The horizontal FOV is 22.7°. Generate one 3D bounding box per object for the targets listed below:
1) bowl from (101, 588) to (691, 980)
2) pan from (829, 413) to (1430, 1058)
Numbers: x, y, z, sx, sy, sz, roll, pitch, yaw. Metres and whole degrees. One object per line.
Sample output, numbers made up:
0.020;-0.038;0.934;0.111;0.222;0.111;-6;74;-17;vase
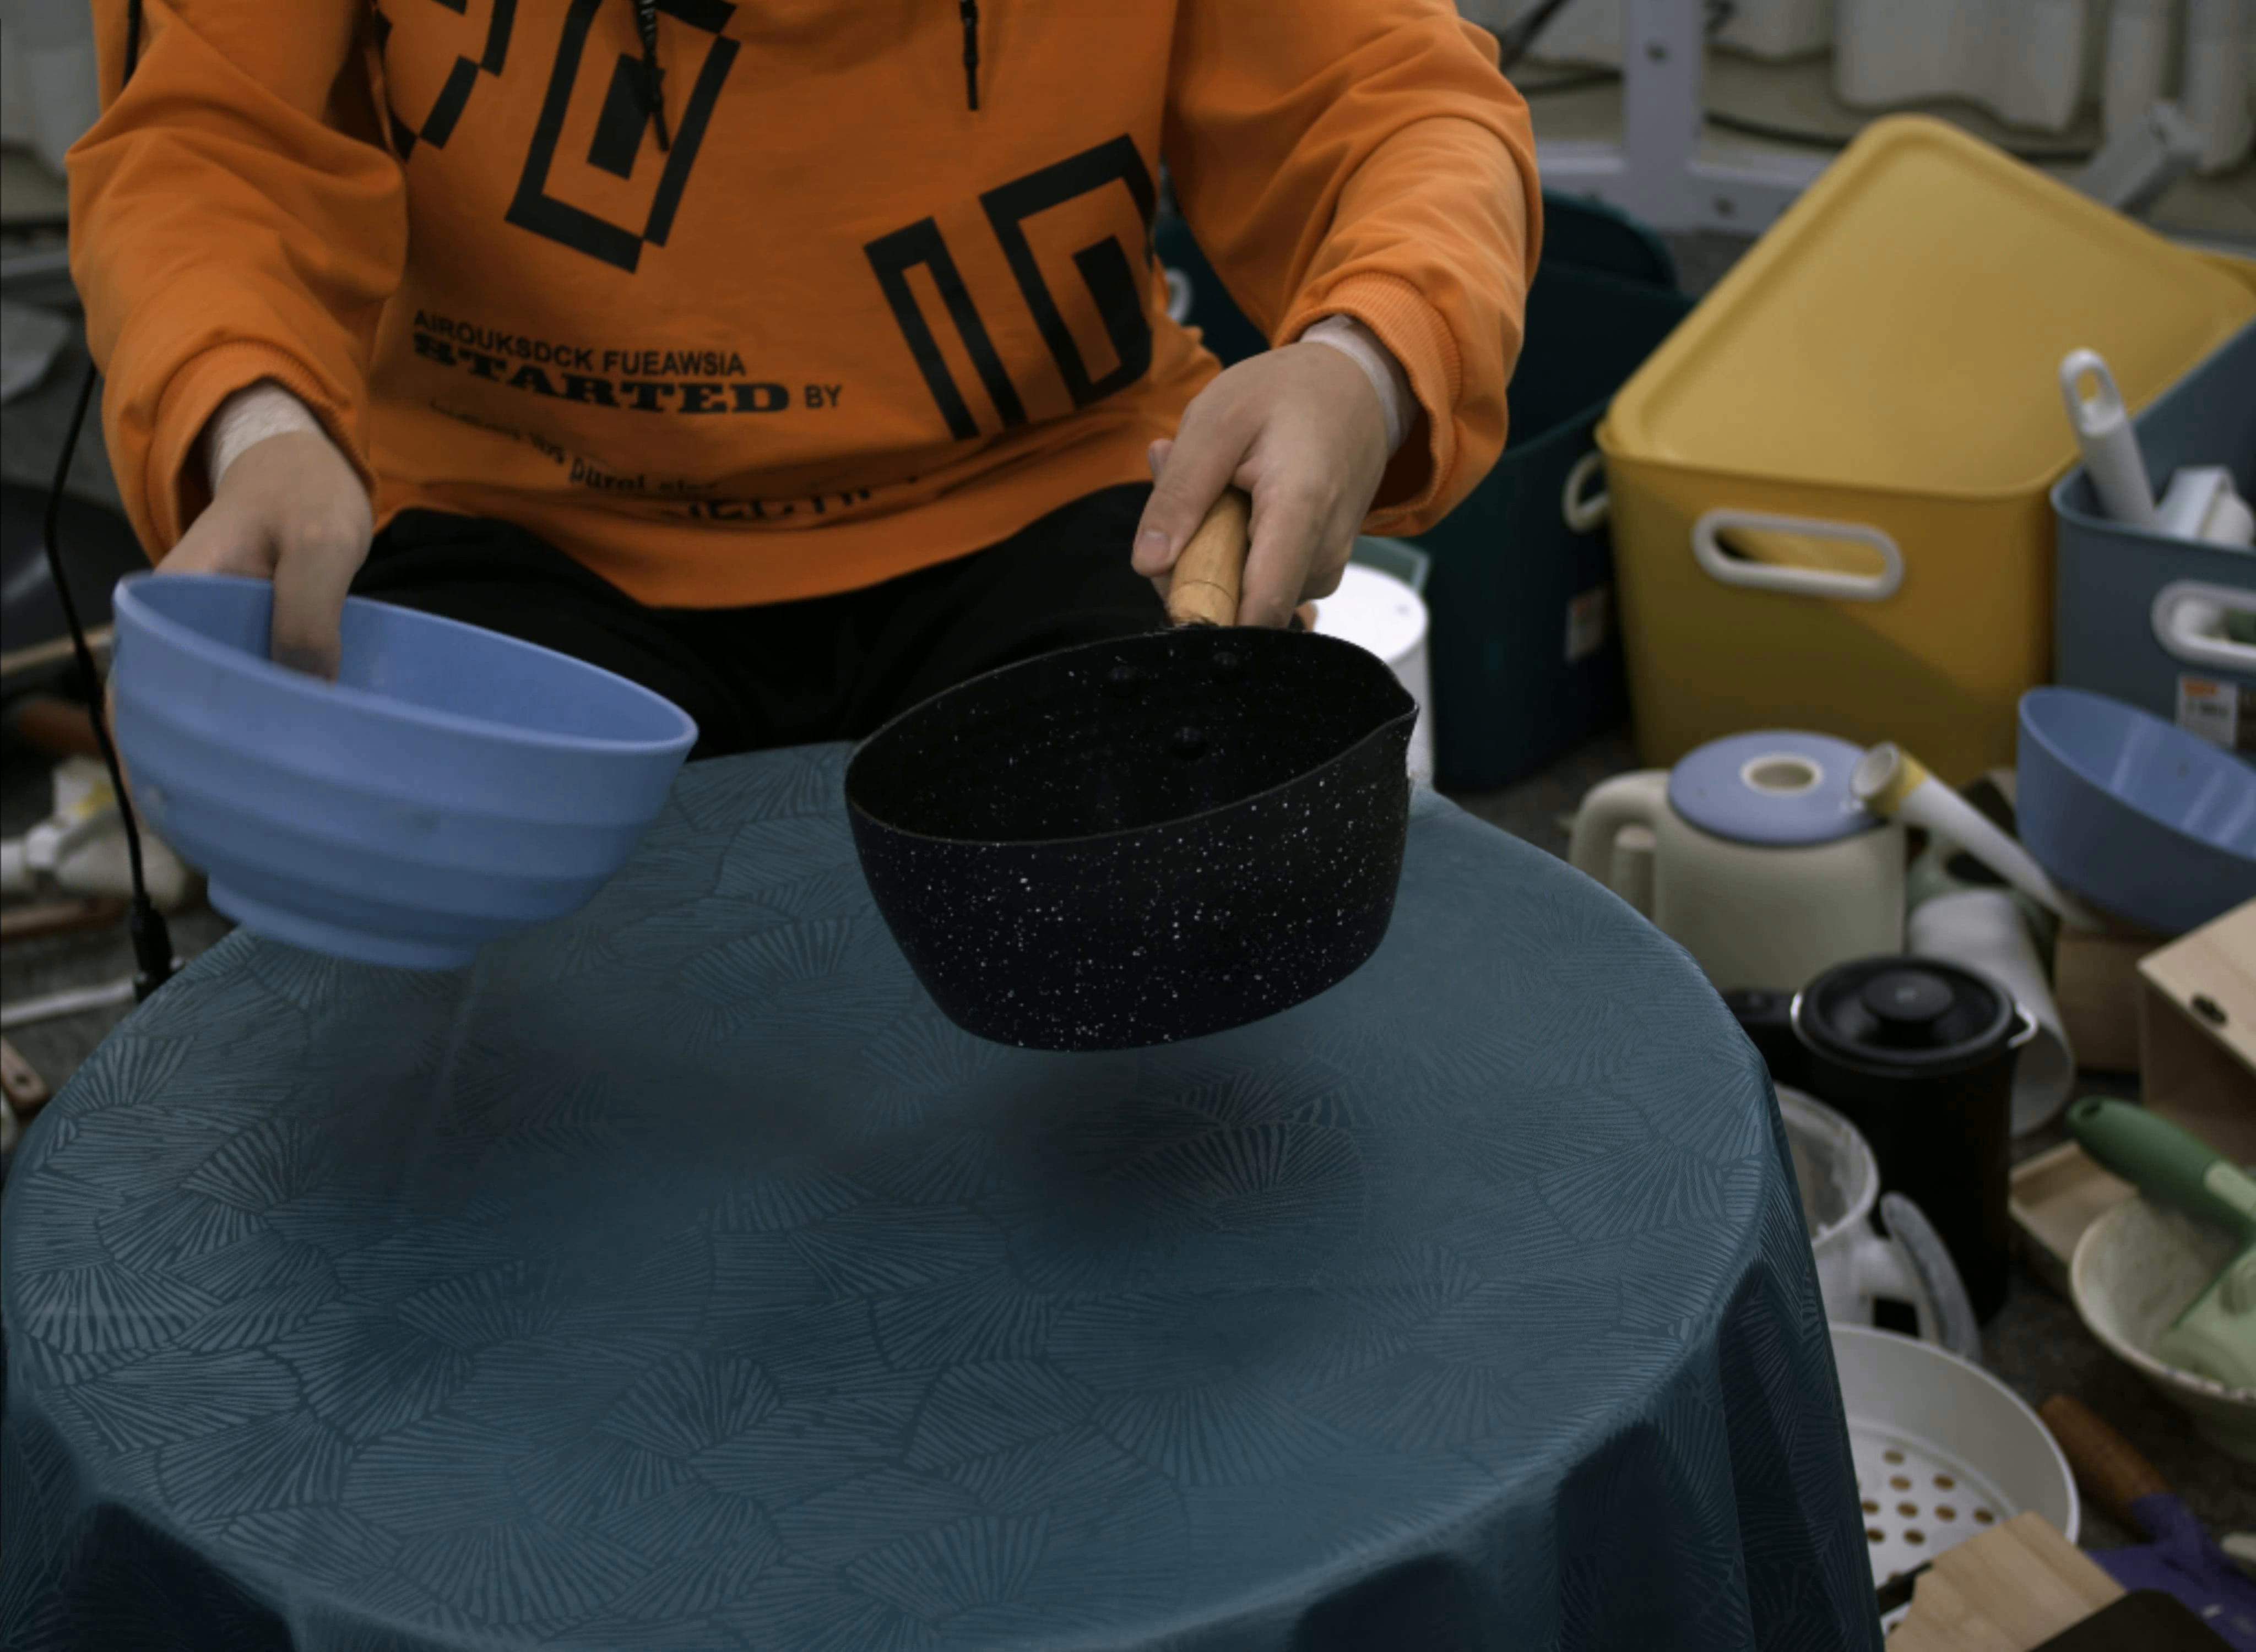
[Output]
-0.249;-0.008;1.855;0.196;0.095;0.198;12;11;-2;bowl
0.016;-0.035;1.920;0.206;0.107;0.348;-7;22;13;pan
